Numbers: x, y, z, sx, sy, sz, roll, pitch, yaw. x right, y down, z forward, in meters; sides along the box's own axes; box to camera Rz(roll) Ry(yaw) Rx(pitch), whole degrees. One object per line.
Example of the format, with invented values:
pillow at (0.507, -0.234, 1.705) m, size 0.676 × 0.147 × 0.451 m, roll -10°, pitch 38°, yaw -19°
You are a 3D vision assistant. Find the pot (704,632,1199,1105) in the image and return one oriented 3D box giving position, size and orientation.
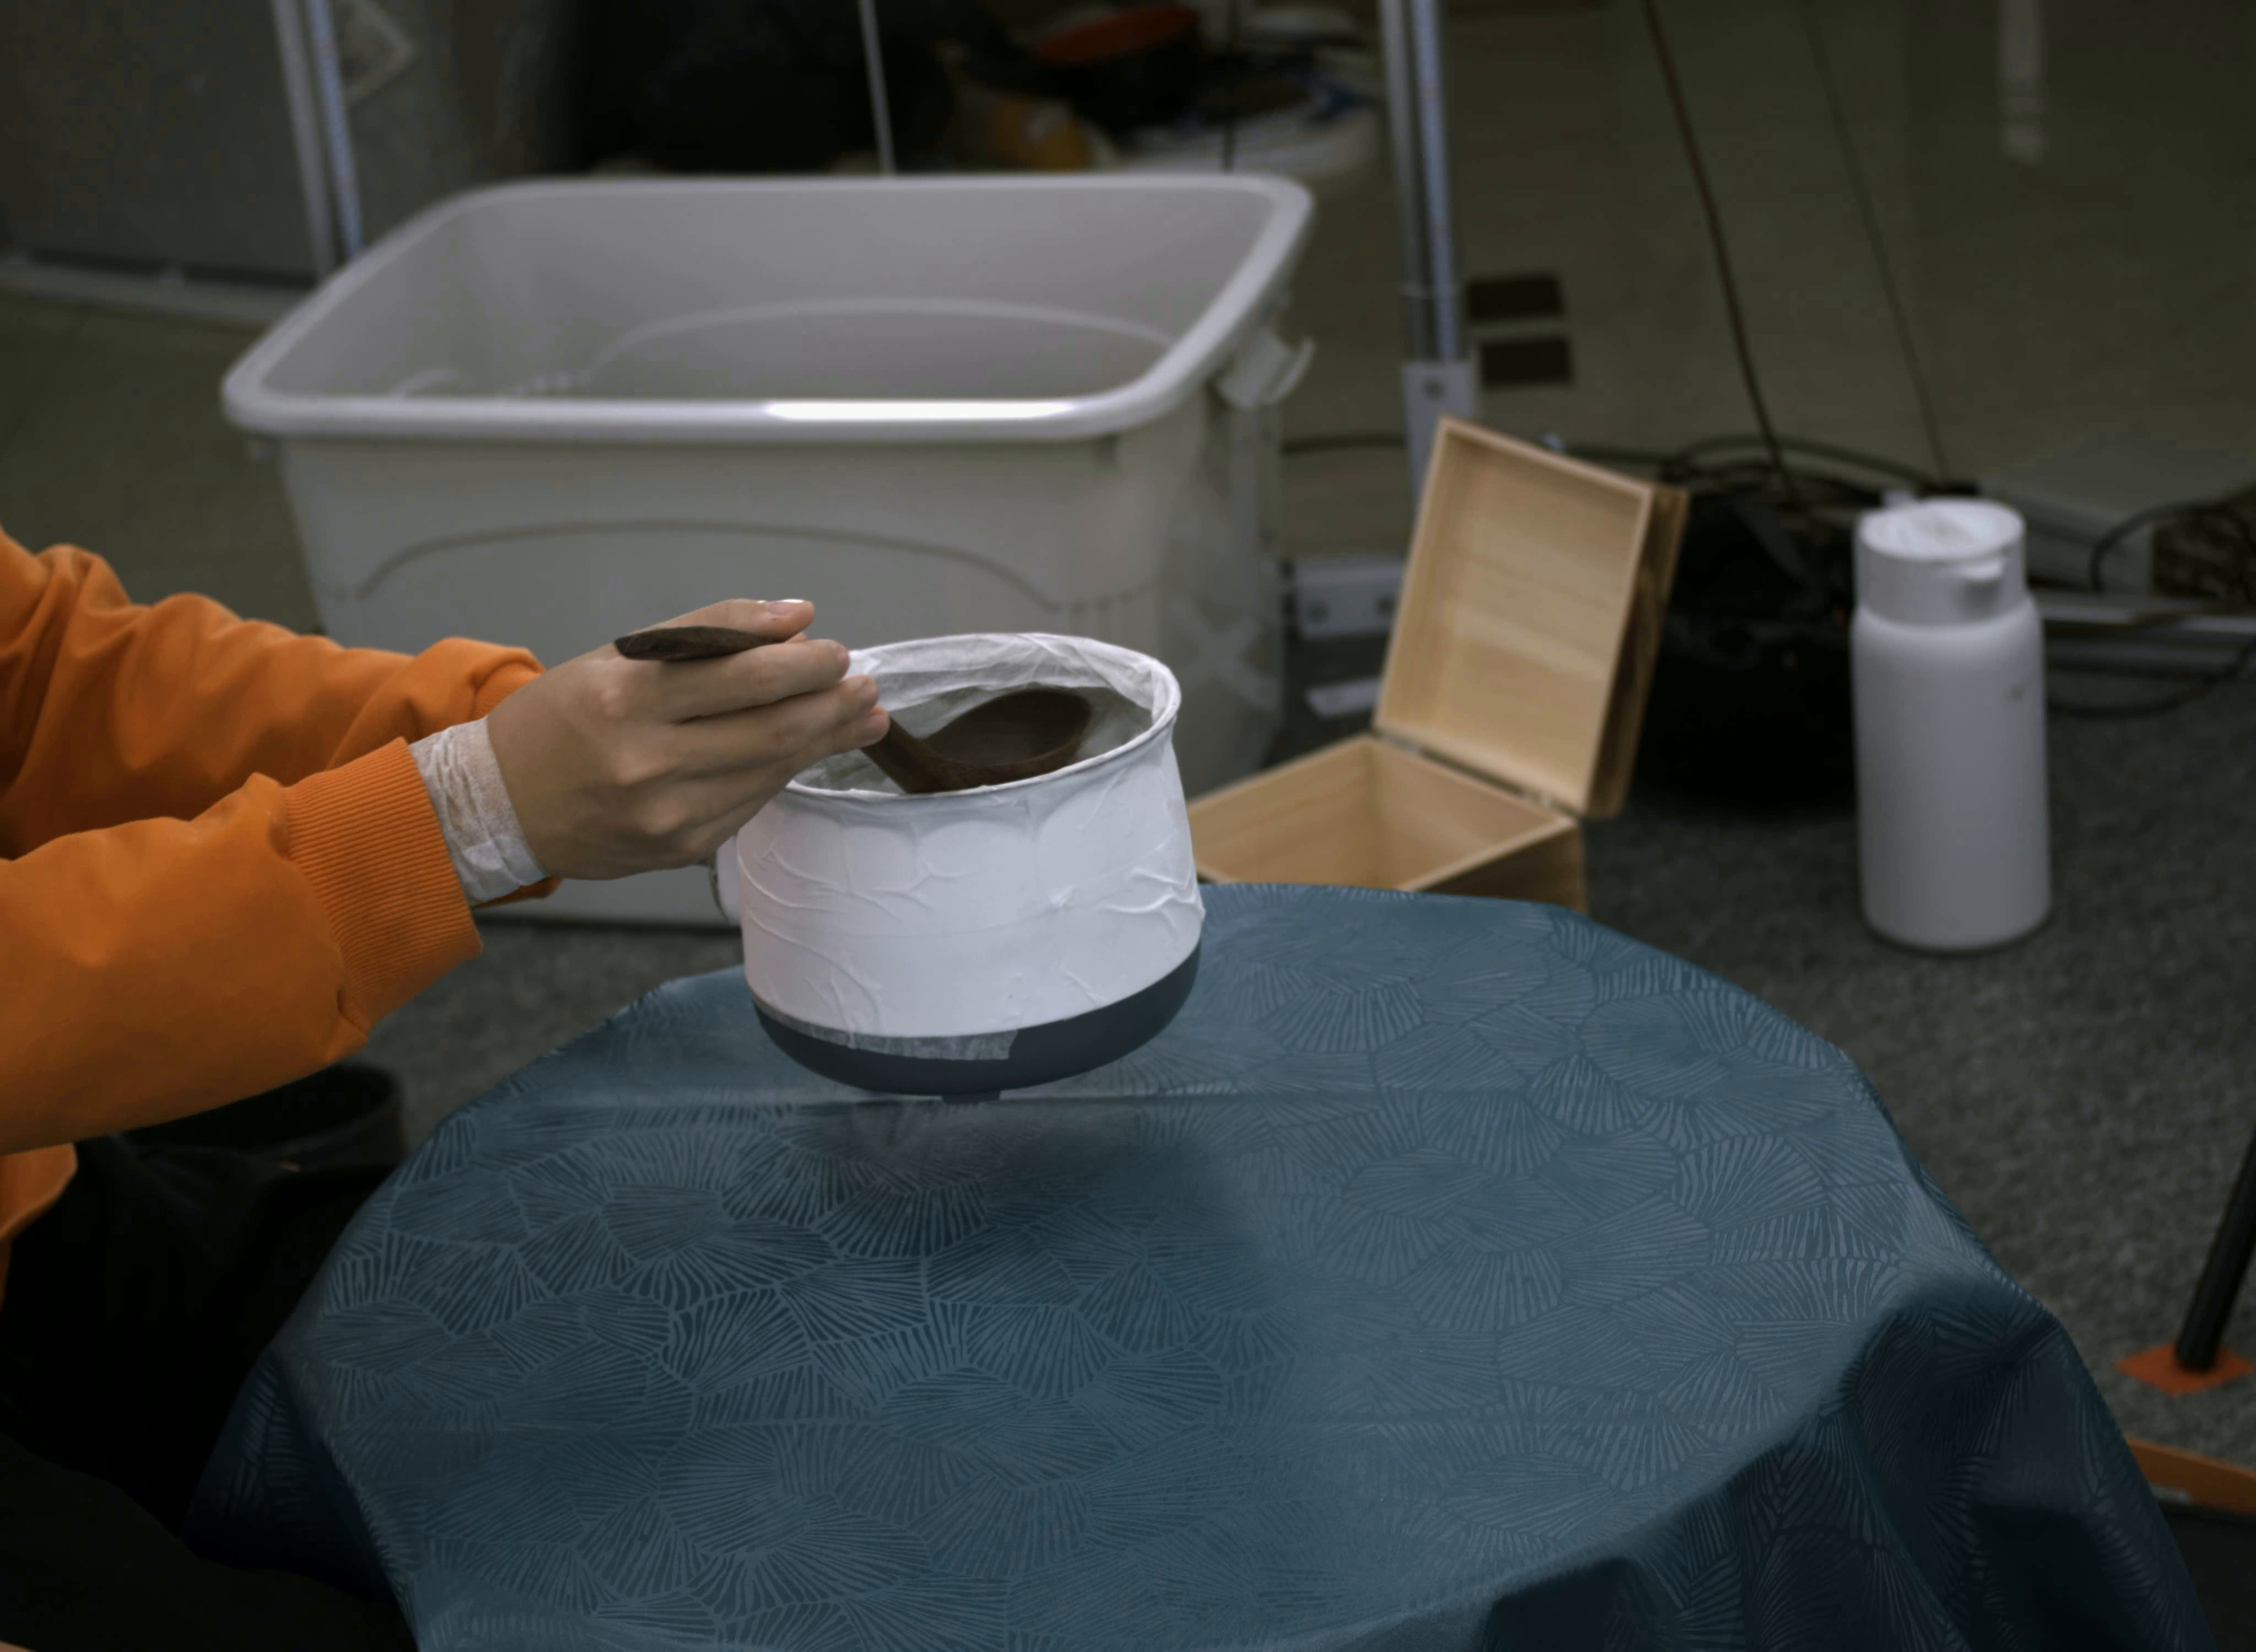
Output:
pot at (-0.083, 0.010, 2.180) m, size 0.232 × 0.138 × 0.177 m, roll 16°, pitch 30°, yaw 43°

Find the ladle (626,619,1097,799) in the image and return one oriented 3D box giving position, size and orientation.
ladle at (-0.098, -0.057, 2.032) m, size 0.076 × 0.070 × 0.276 m, roll -15°, pitch -23°, yaw 25°
